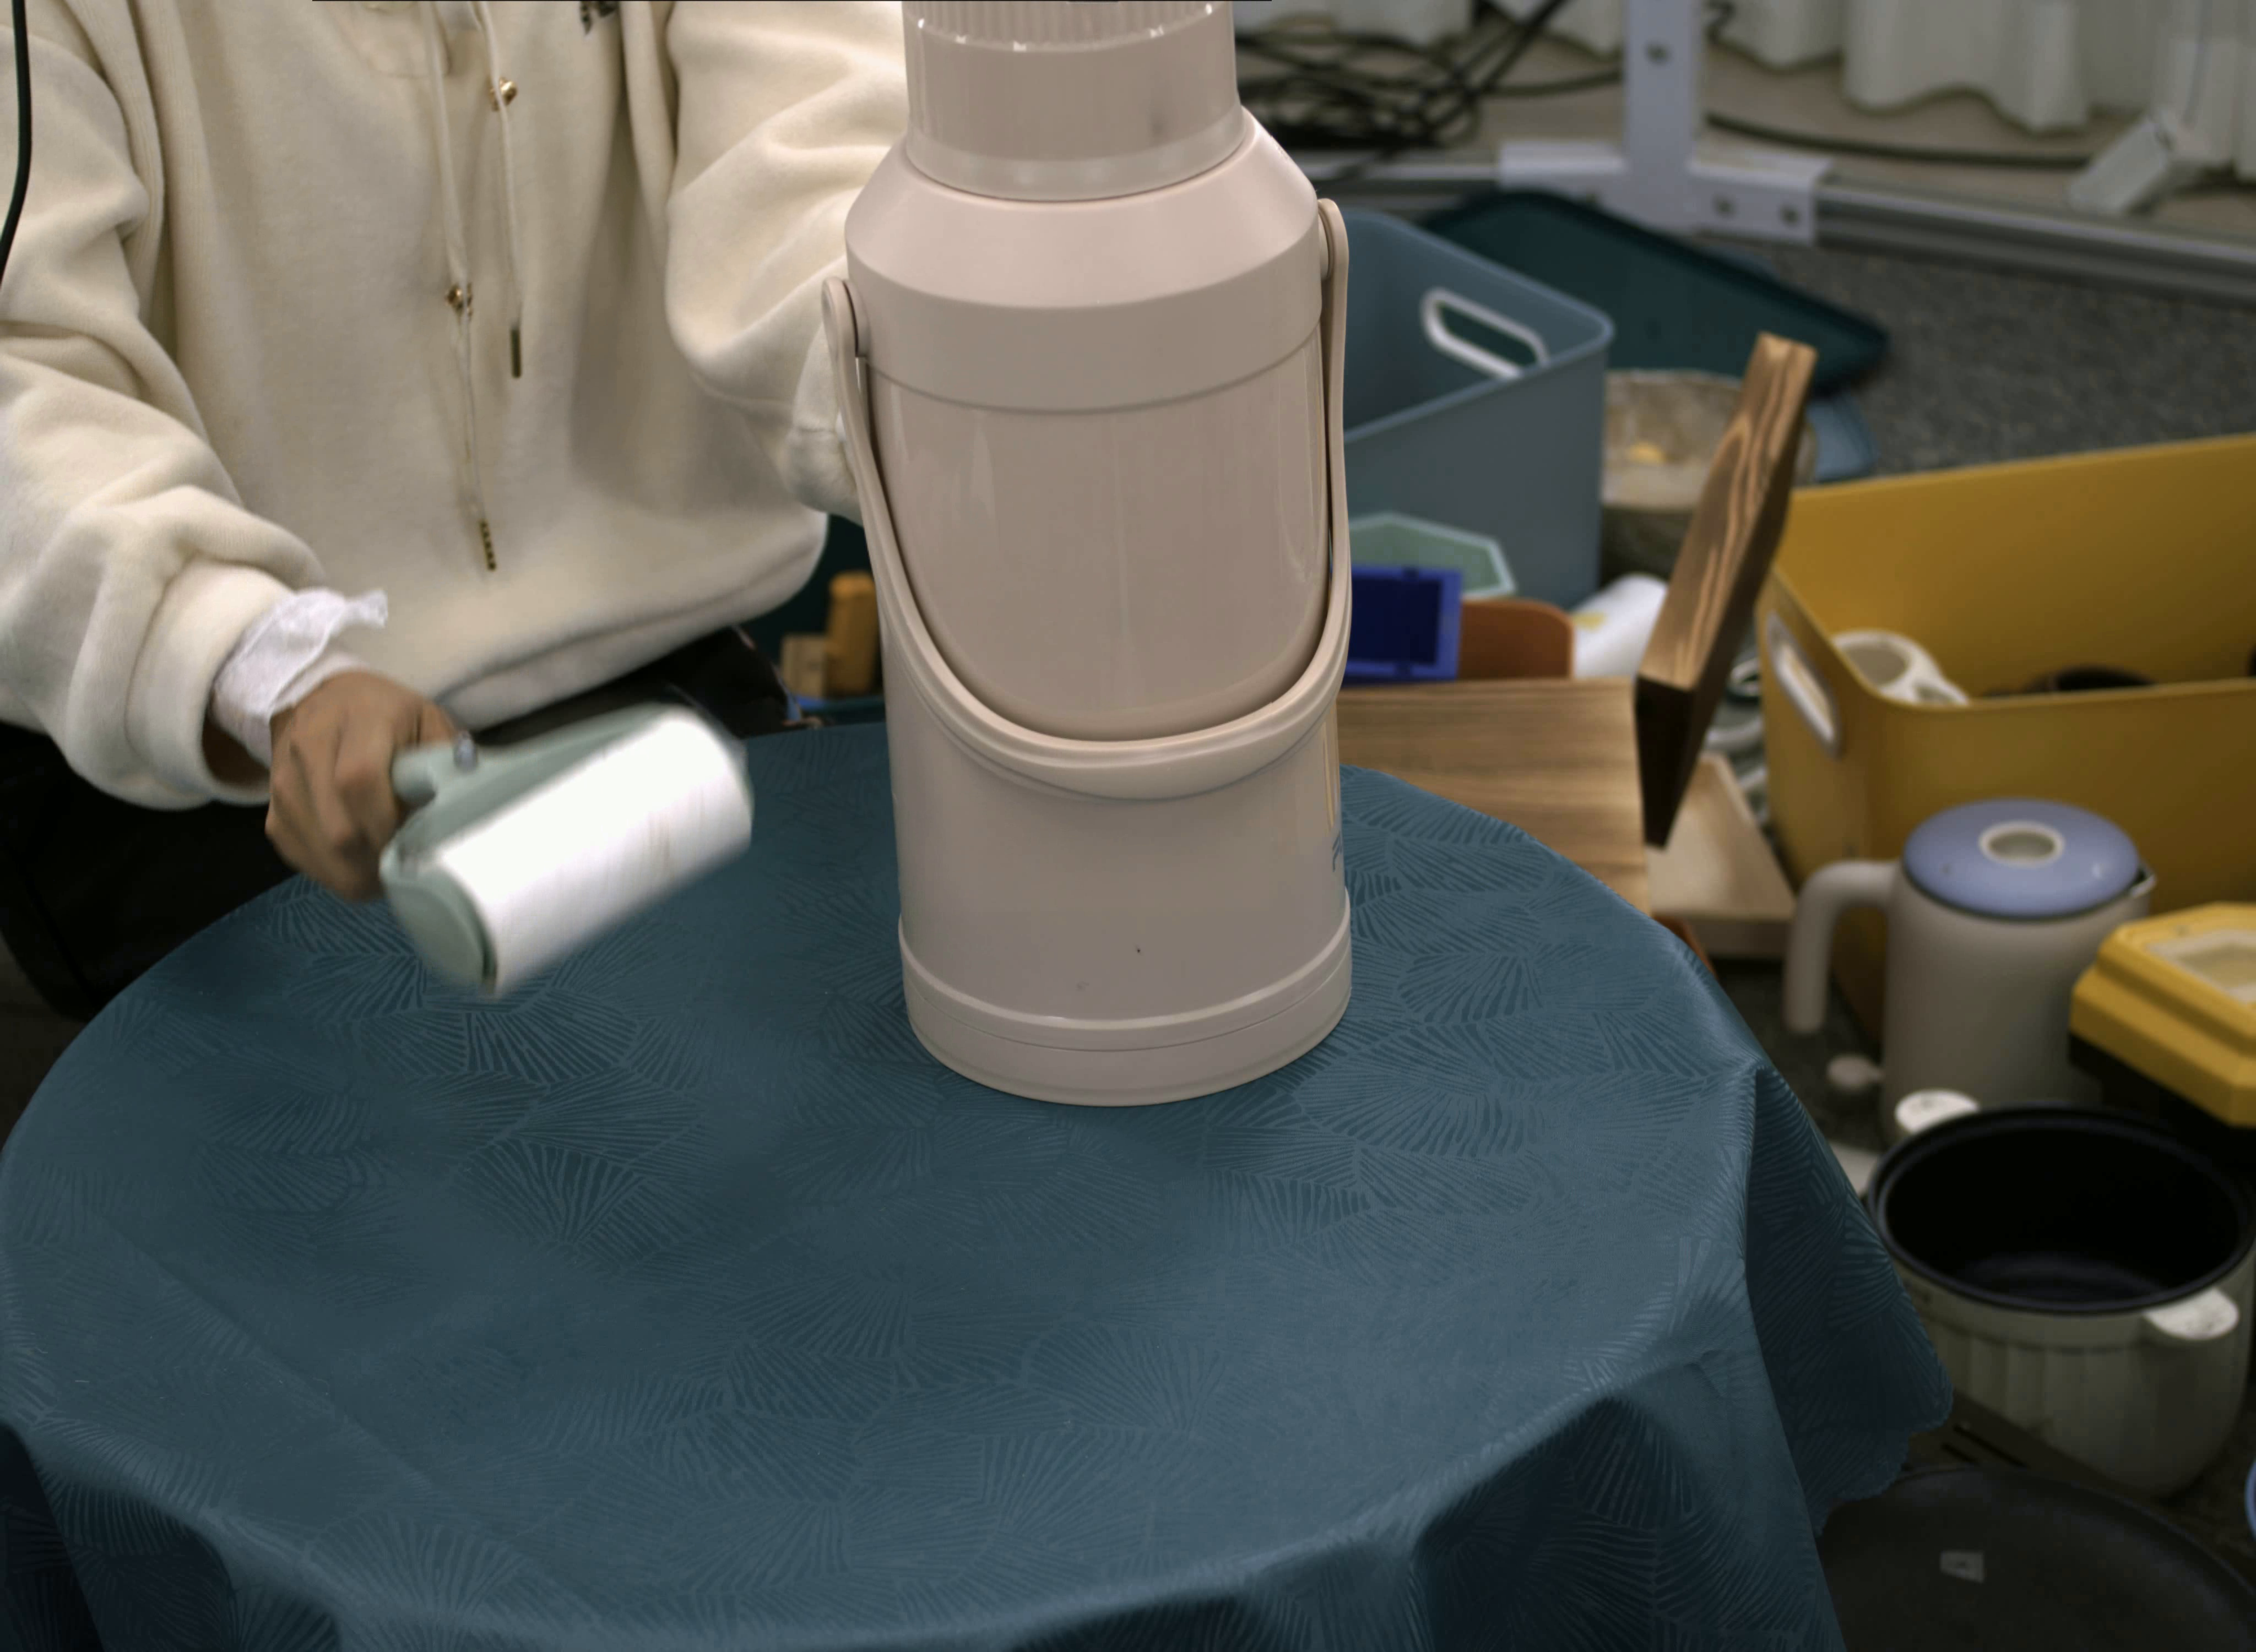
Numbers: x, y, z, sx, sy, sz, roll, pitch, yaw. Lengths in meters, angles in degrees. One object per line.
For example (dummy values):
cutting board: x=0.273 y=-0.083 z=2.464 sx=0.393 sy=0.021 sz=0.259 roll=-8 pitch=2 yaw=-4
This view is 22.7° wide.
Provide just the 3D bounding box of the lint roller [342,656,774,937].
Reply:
lint roller: x=-0.208 y=-0.018 z=1.847 sx=0.118 sy=0.048 sz=0.196 roll=-34 pitch=26 yaw=-27

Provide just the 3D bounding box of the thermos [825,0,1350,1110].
thermos: x=-0.012 y=-0.122 z=1.908 sx=0.175 sy=0.402 sz=0.209 roll=-10 pitch=27 yaw=-13
